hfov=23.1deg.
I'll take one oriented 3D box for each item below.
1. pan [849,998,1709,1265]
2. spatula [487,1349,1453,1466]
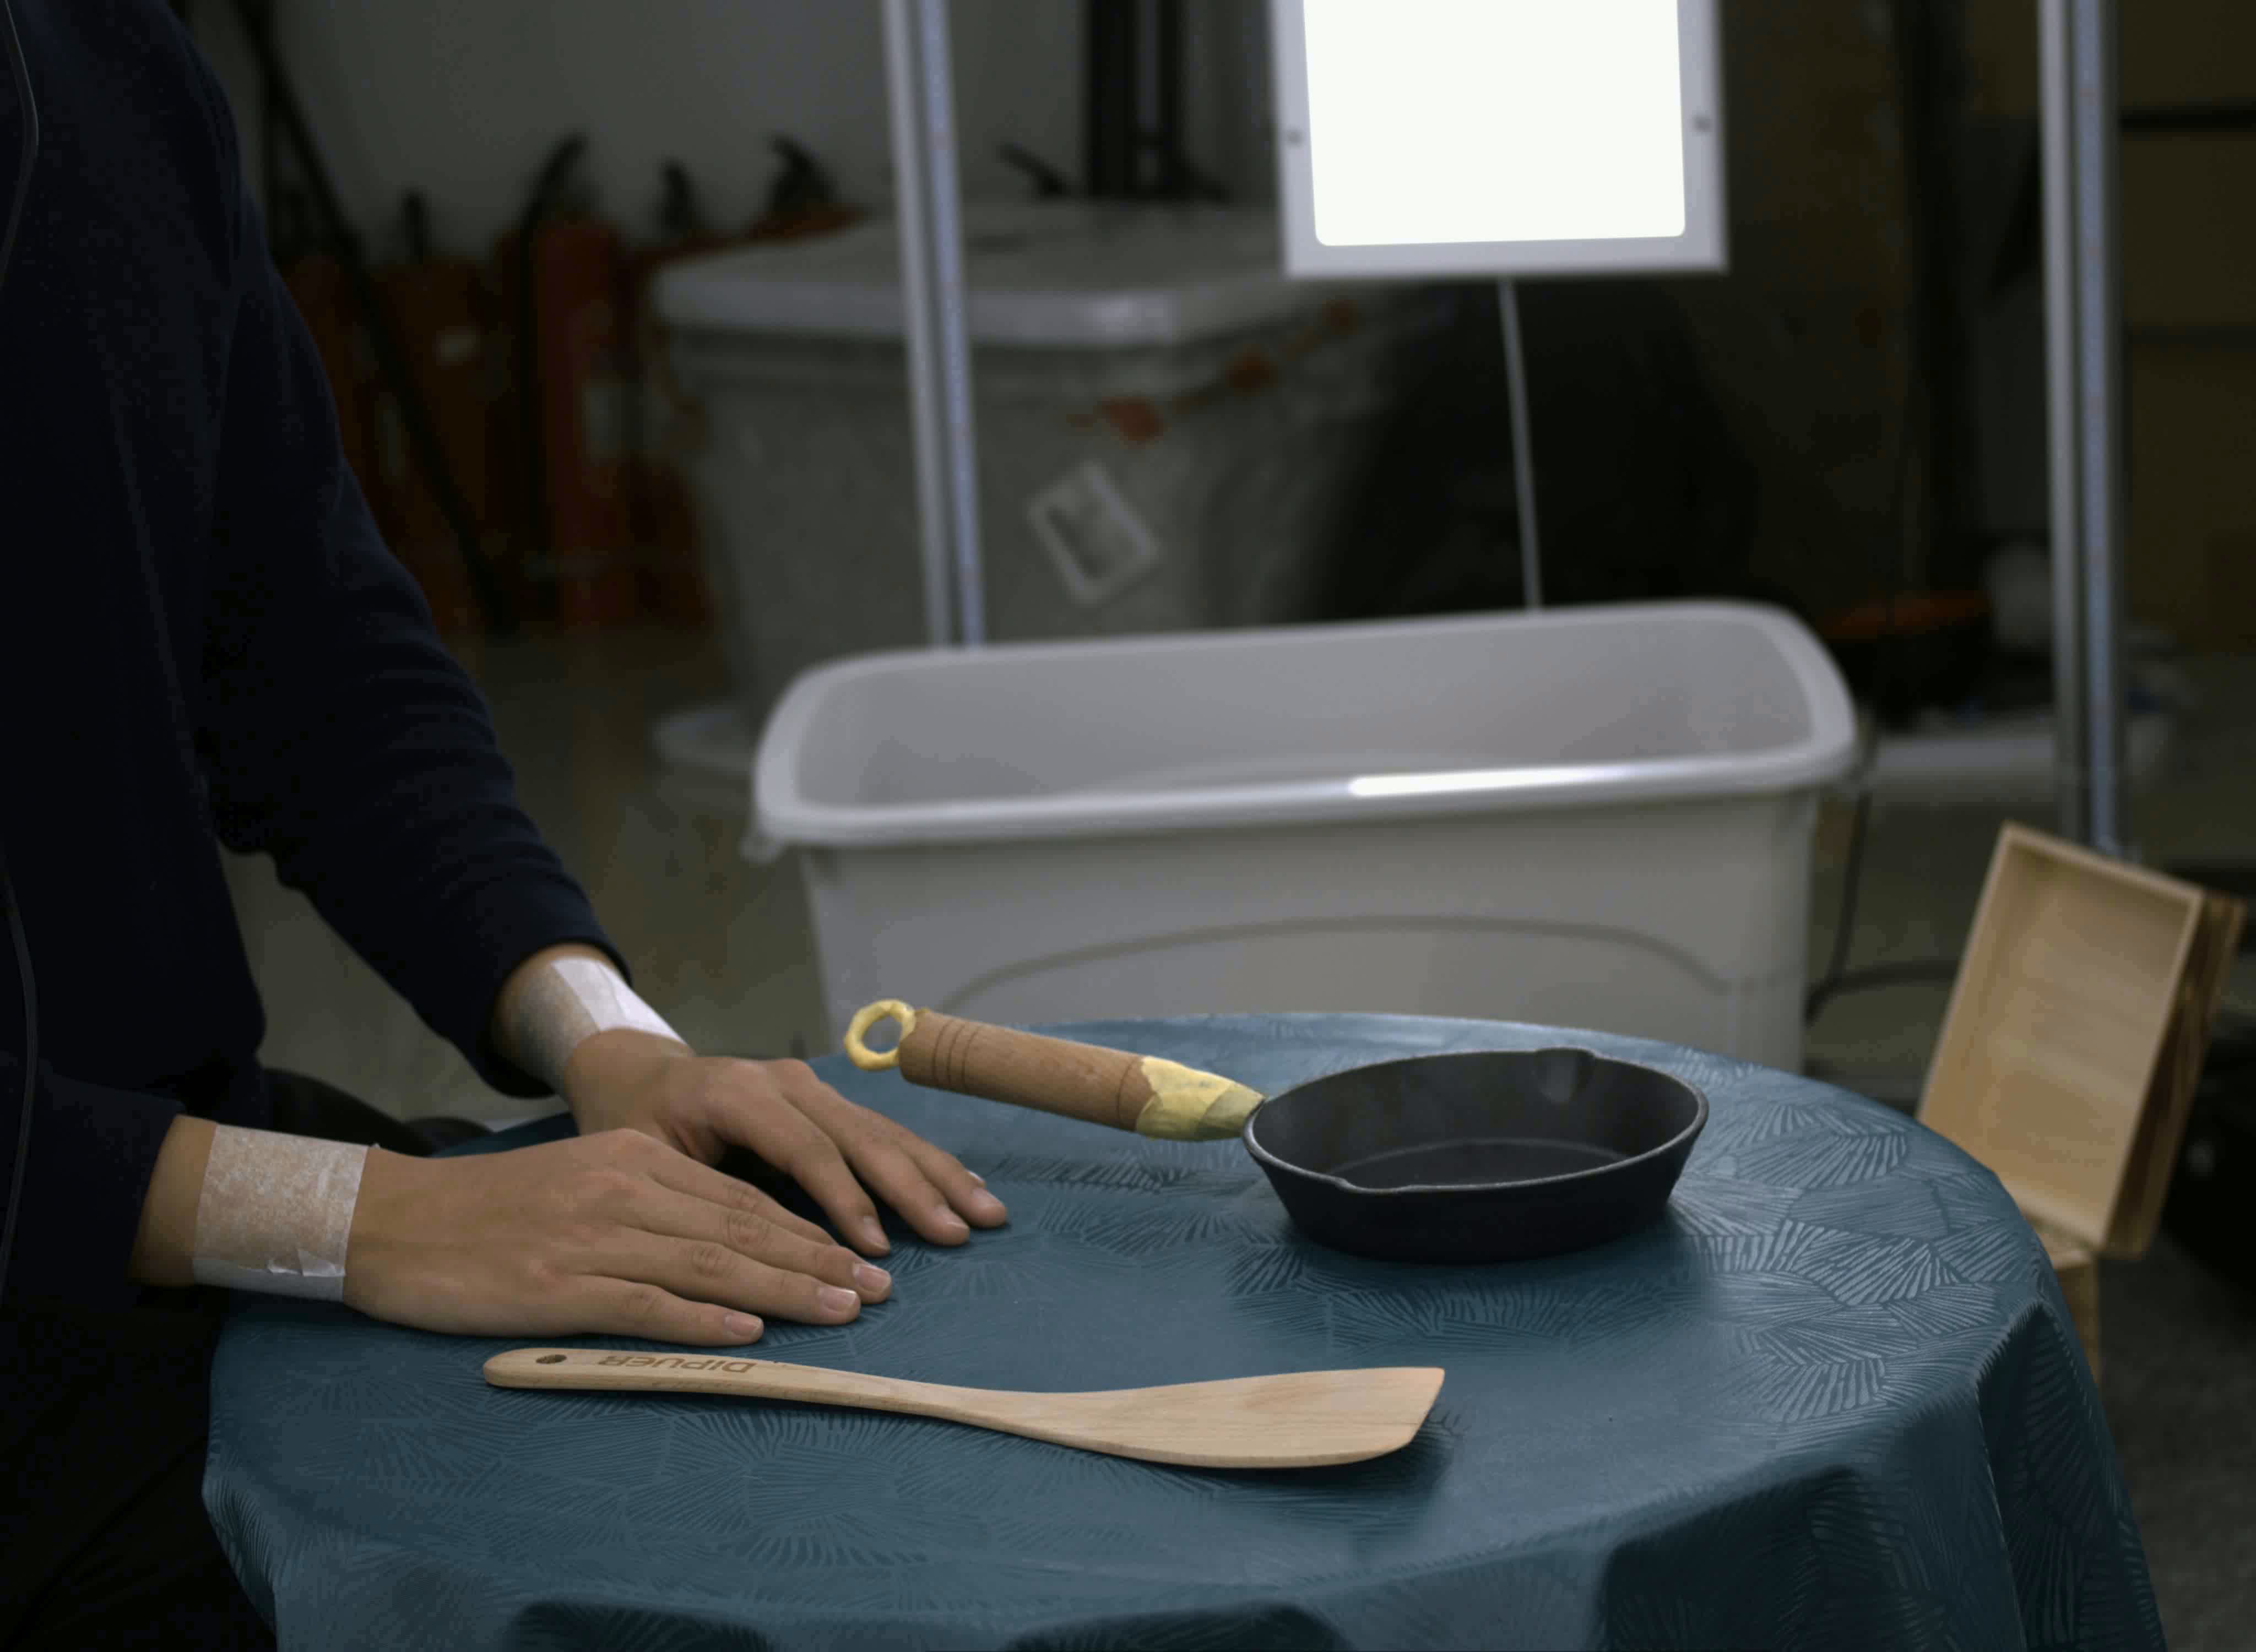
[{"bbox_3d":[0.044,0.098,1.888,0.330,0.050,0.165,5,17,32],"label":"pan"},{"bbox_3d":[-0.053,0.173,1.695,0.333,0.016,0.078,2,14,26],"label":"spatula"}]
